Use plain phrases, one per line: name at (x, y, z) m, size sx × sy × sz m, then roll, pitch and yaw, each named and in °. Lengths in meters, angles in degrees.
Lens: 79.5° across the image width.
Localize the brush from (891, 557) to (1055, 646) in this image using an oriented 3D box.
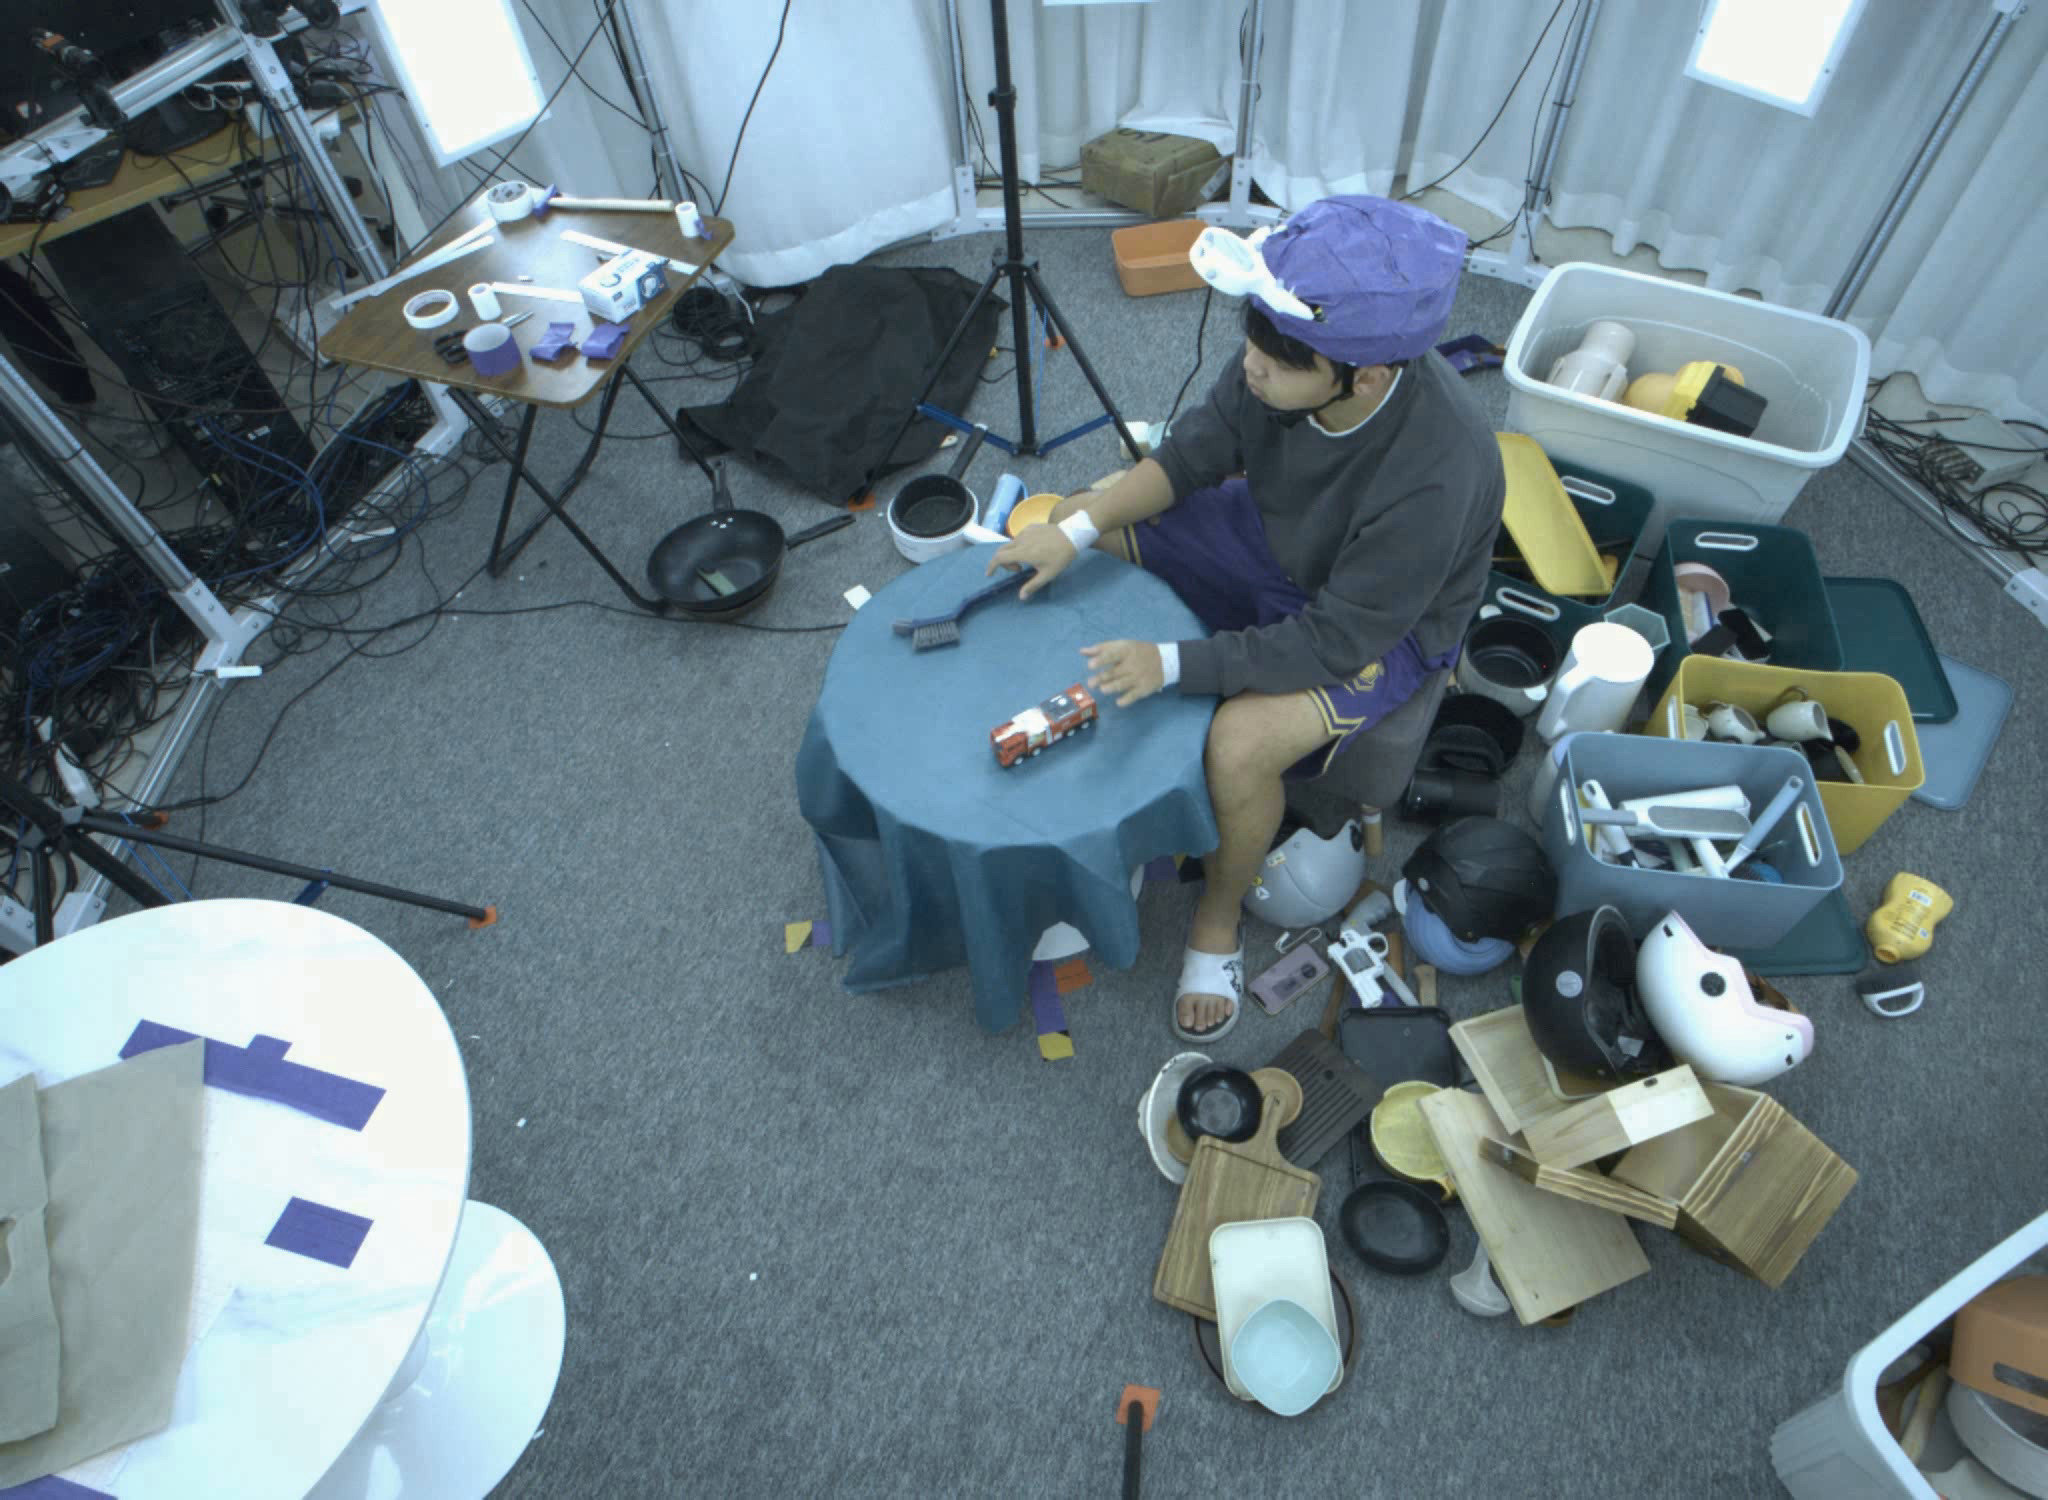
brush at (-0.076, -0.246, 1.947) m, size 0.275 × 0.034 × 0.094 m, roll -34°, pitch 60°, yaw -19°

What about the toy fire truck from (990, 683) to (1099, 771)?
toy fire truck at (0.028, -0.034, 1.777) m, size 0.169 × 0.071 × 0.053 m, roll -28°, pitch 57°, yaw -18°
